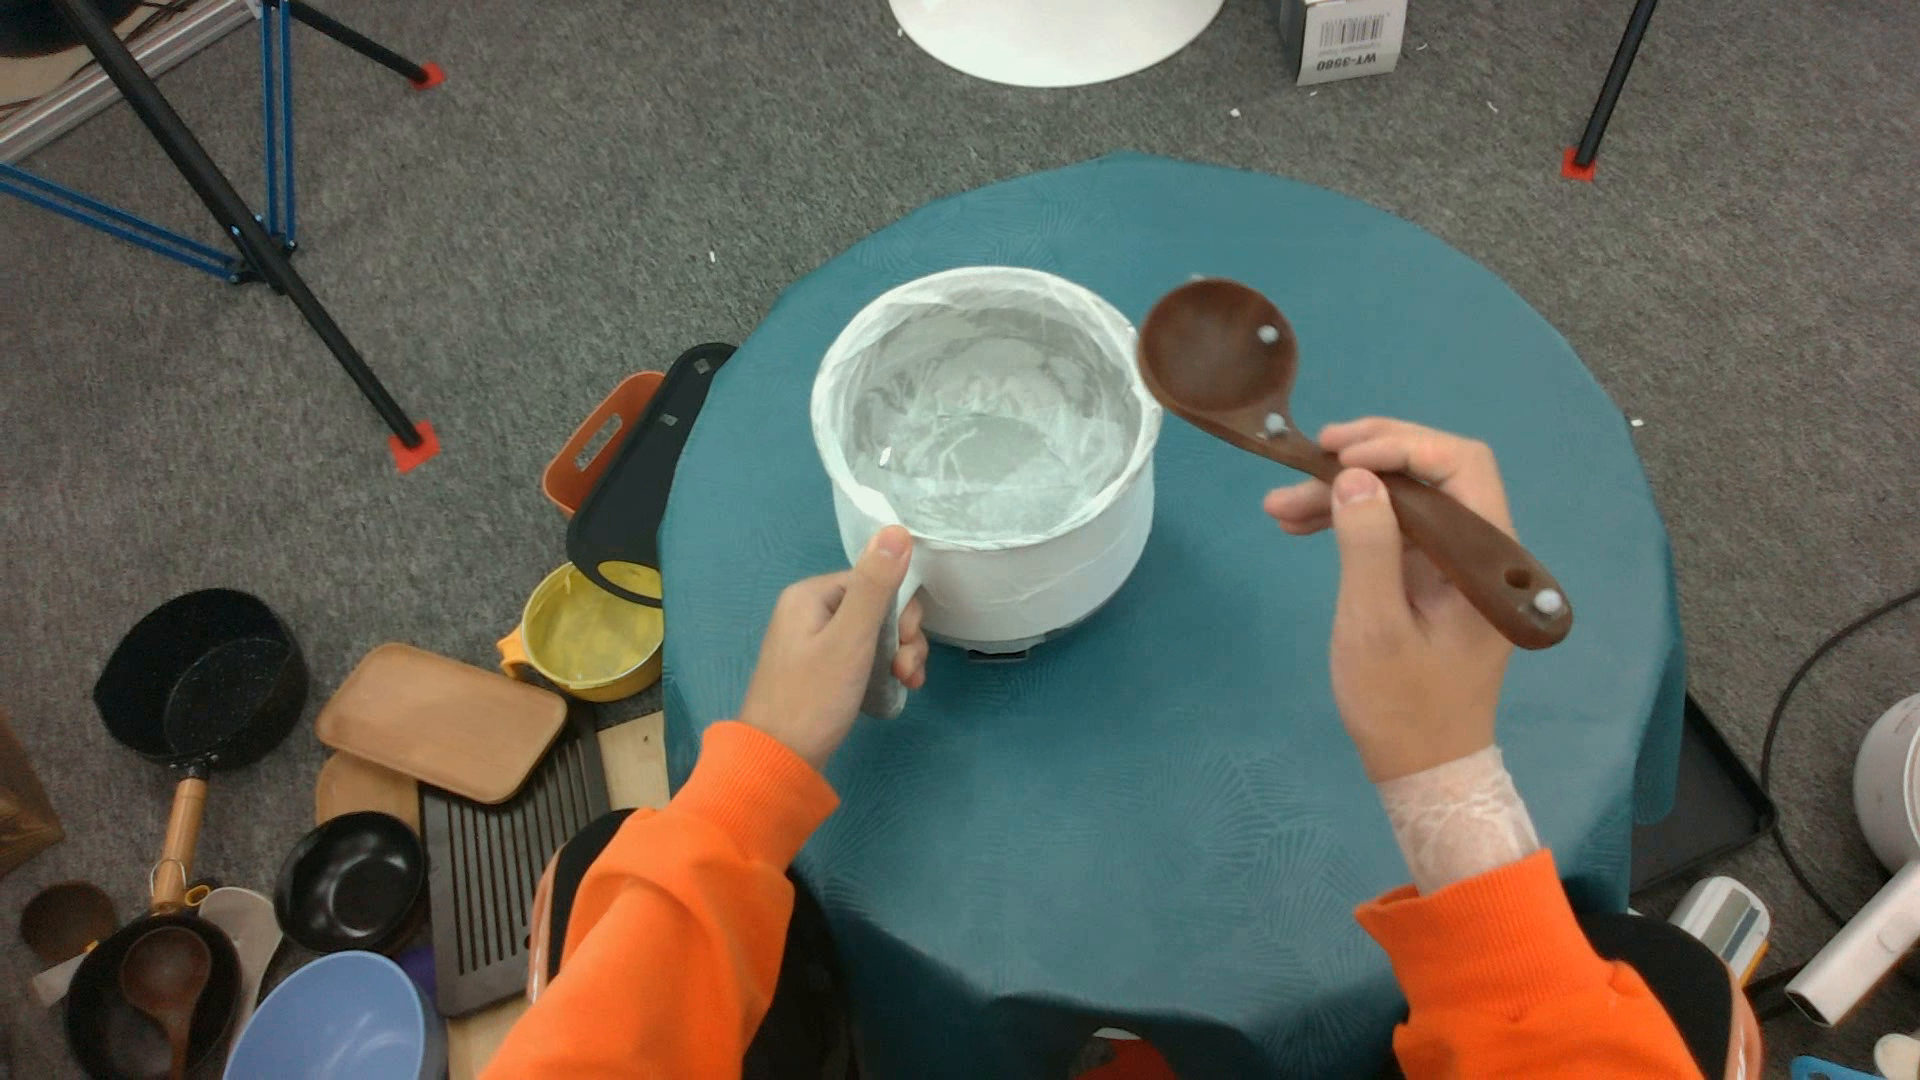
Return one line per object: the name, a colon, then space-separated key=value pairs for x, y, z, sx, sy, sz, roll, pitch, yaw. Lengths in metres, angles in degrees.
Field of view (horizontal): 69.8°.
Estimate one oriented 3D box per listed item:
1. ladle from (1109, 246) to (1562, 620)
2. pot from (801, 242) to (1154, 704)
ladle: x=0.140 y=-0.054 z=0.548 sx=0.076 sy=0.065 sz=0.260 roll=-26 pitch=32 yaw=-9
pot: x=-0.001 y=-0.028 z=0.729 sx=0.178 sy=0.136 sz=0.234 roll=23 pitch=64 yaw=16
